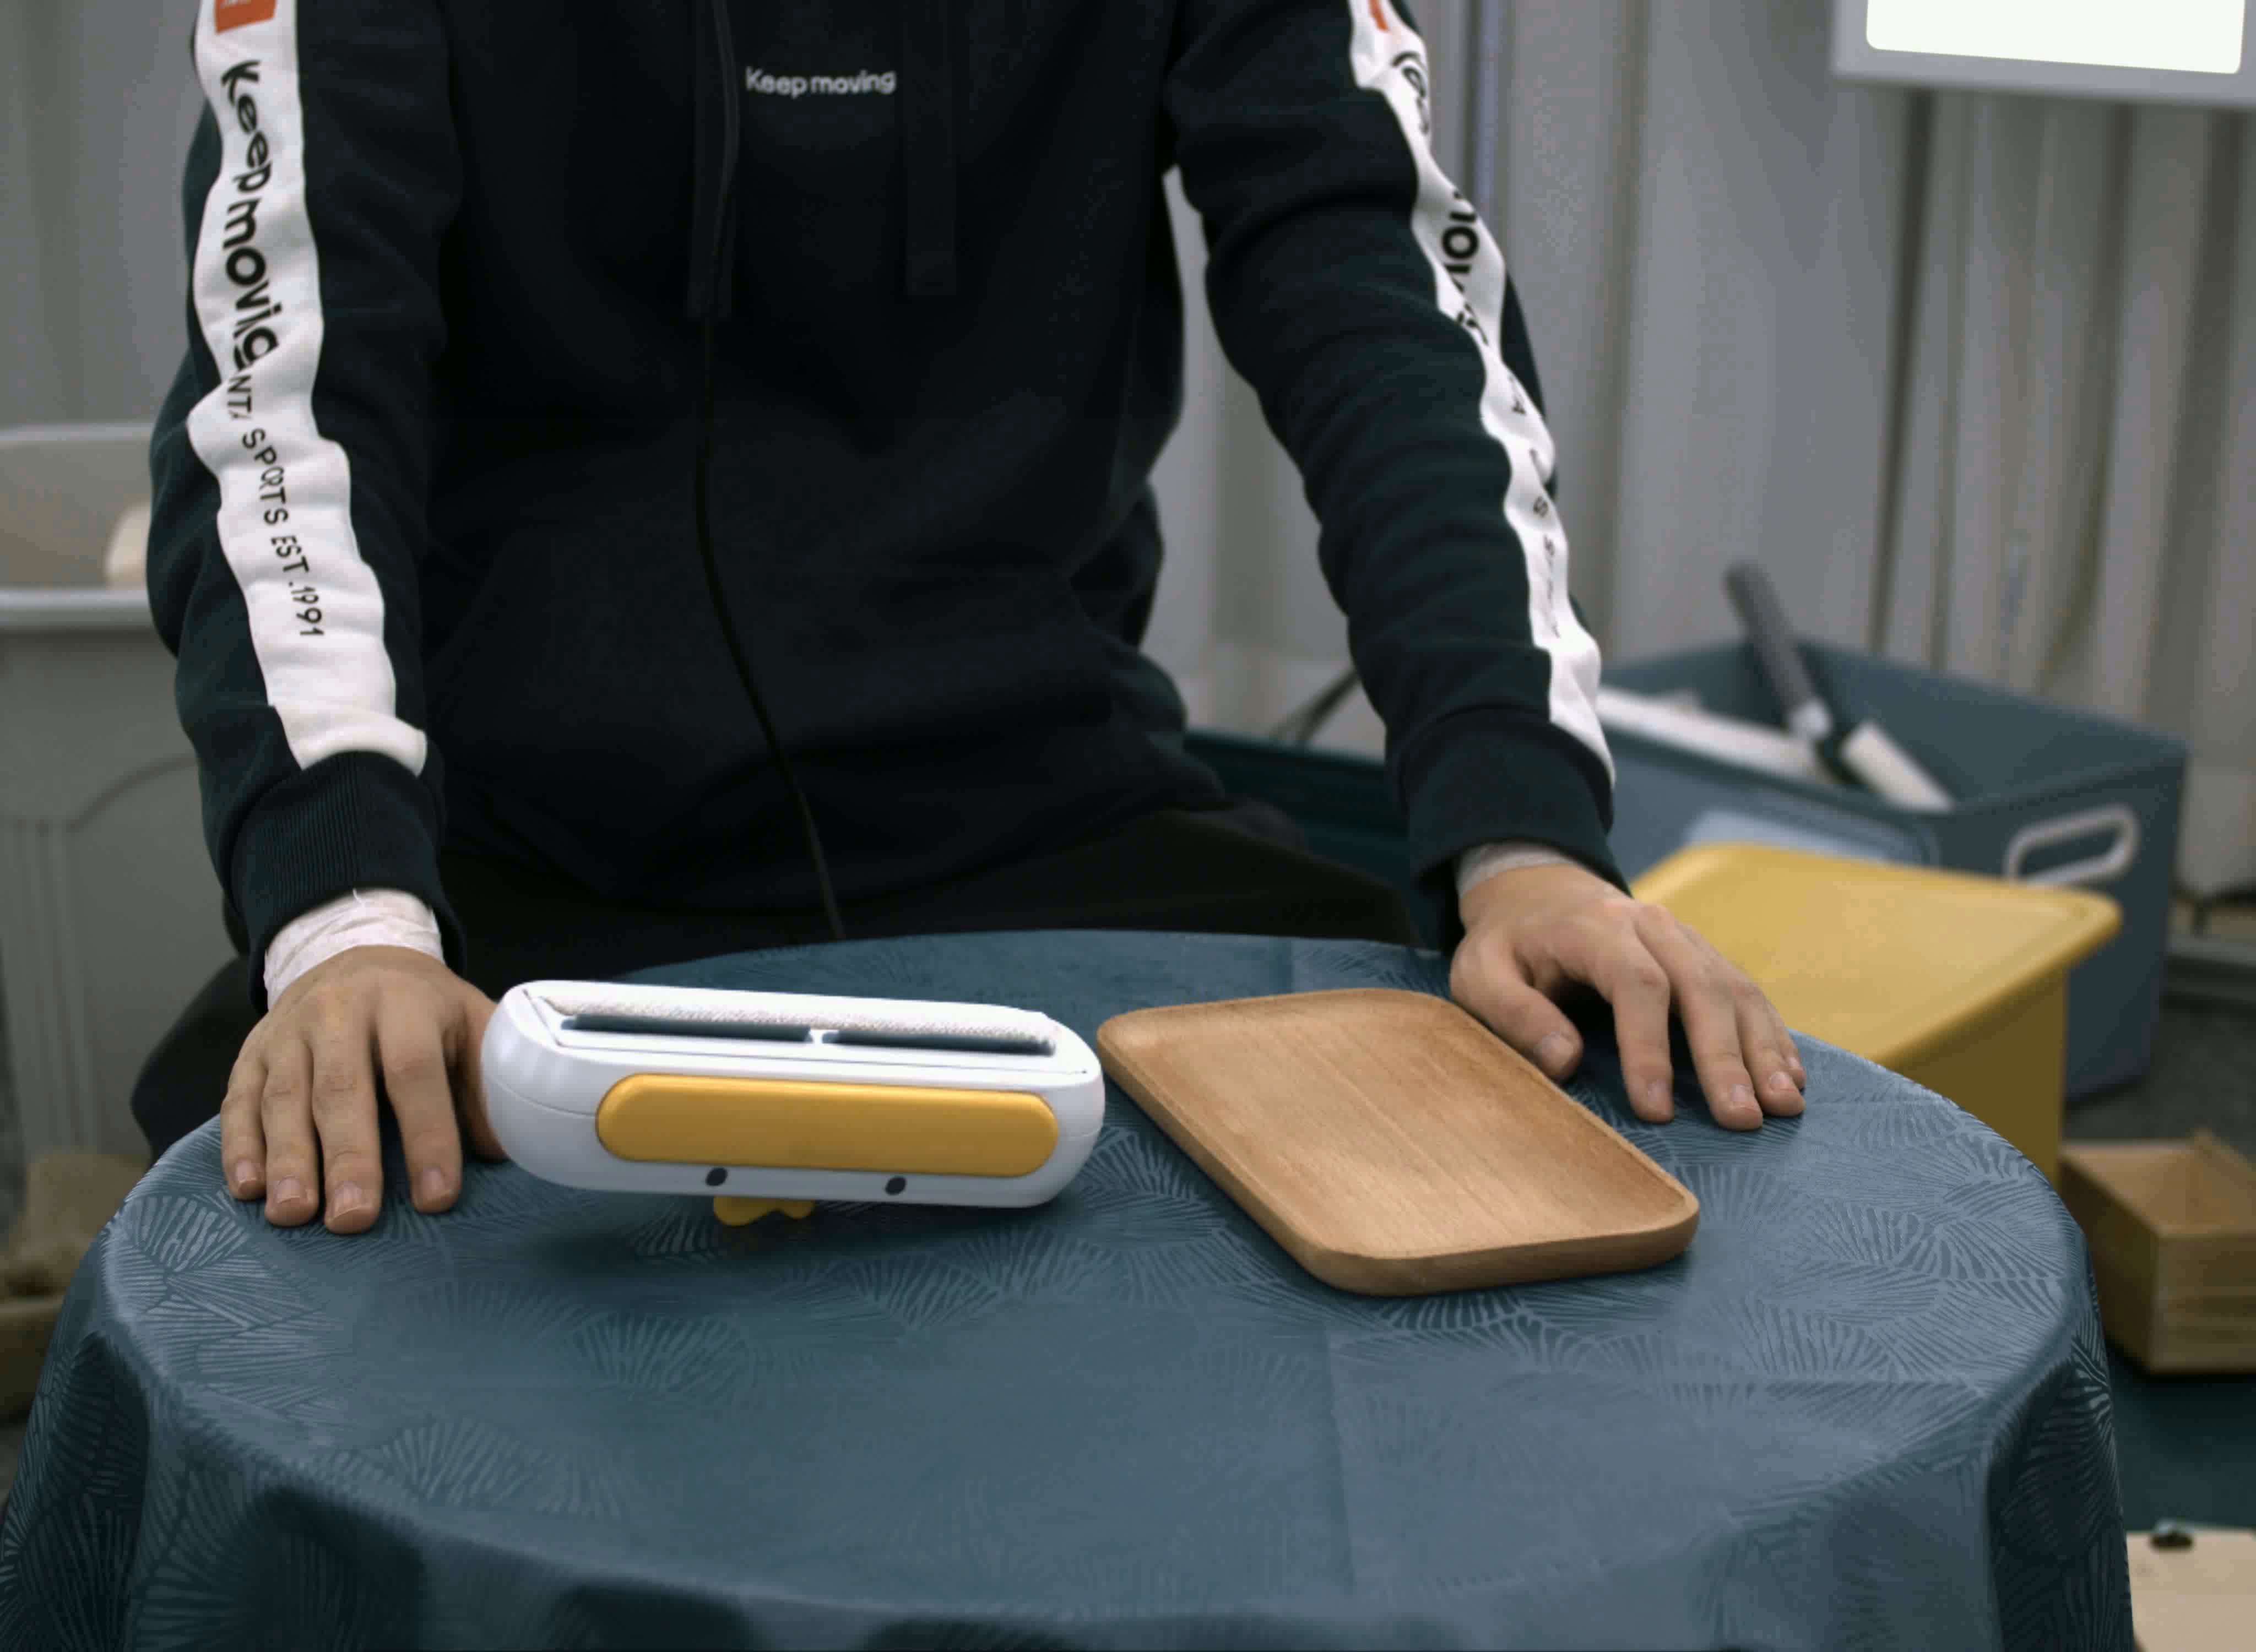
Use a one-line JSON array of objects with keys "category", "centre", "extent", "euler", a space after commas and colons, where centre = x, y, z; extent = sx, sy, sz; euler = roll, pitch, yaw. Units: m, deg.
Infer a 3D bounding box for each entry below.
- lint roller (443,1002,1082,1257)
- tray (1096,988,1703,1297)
[{"category": "lint roller", "centre": [-0.126, 0.093, 1.629], "extent": [0.193, 0.074, 0.191], "euler": [3, -1, -19]}, {"category": "tray", "centre": [0.080, 0.096, 1.650], "extent": [0.131, 0.023, 0.248], "euler": [-2, 15, -17]}]
